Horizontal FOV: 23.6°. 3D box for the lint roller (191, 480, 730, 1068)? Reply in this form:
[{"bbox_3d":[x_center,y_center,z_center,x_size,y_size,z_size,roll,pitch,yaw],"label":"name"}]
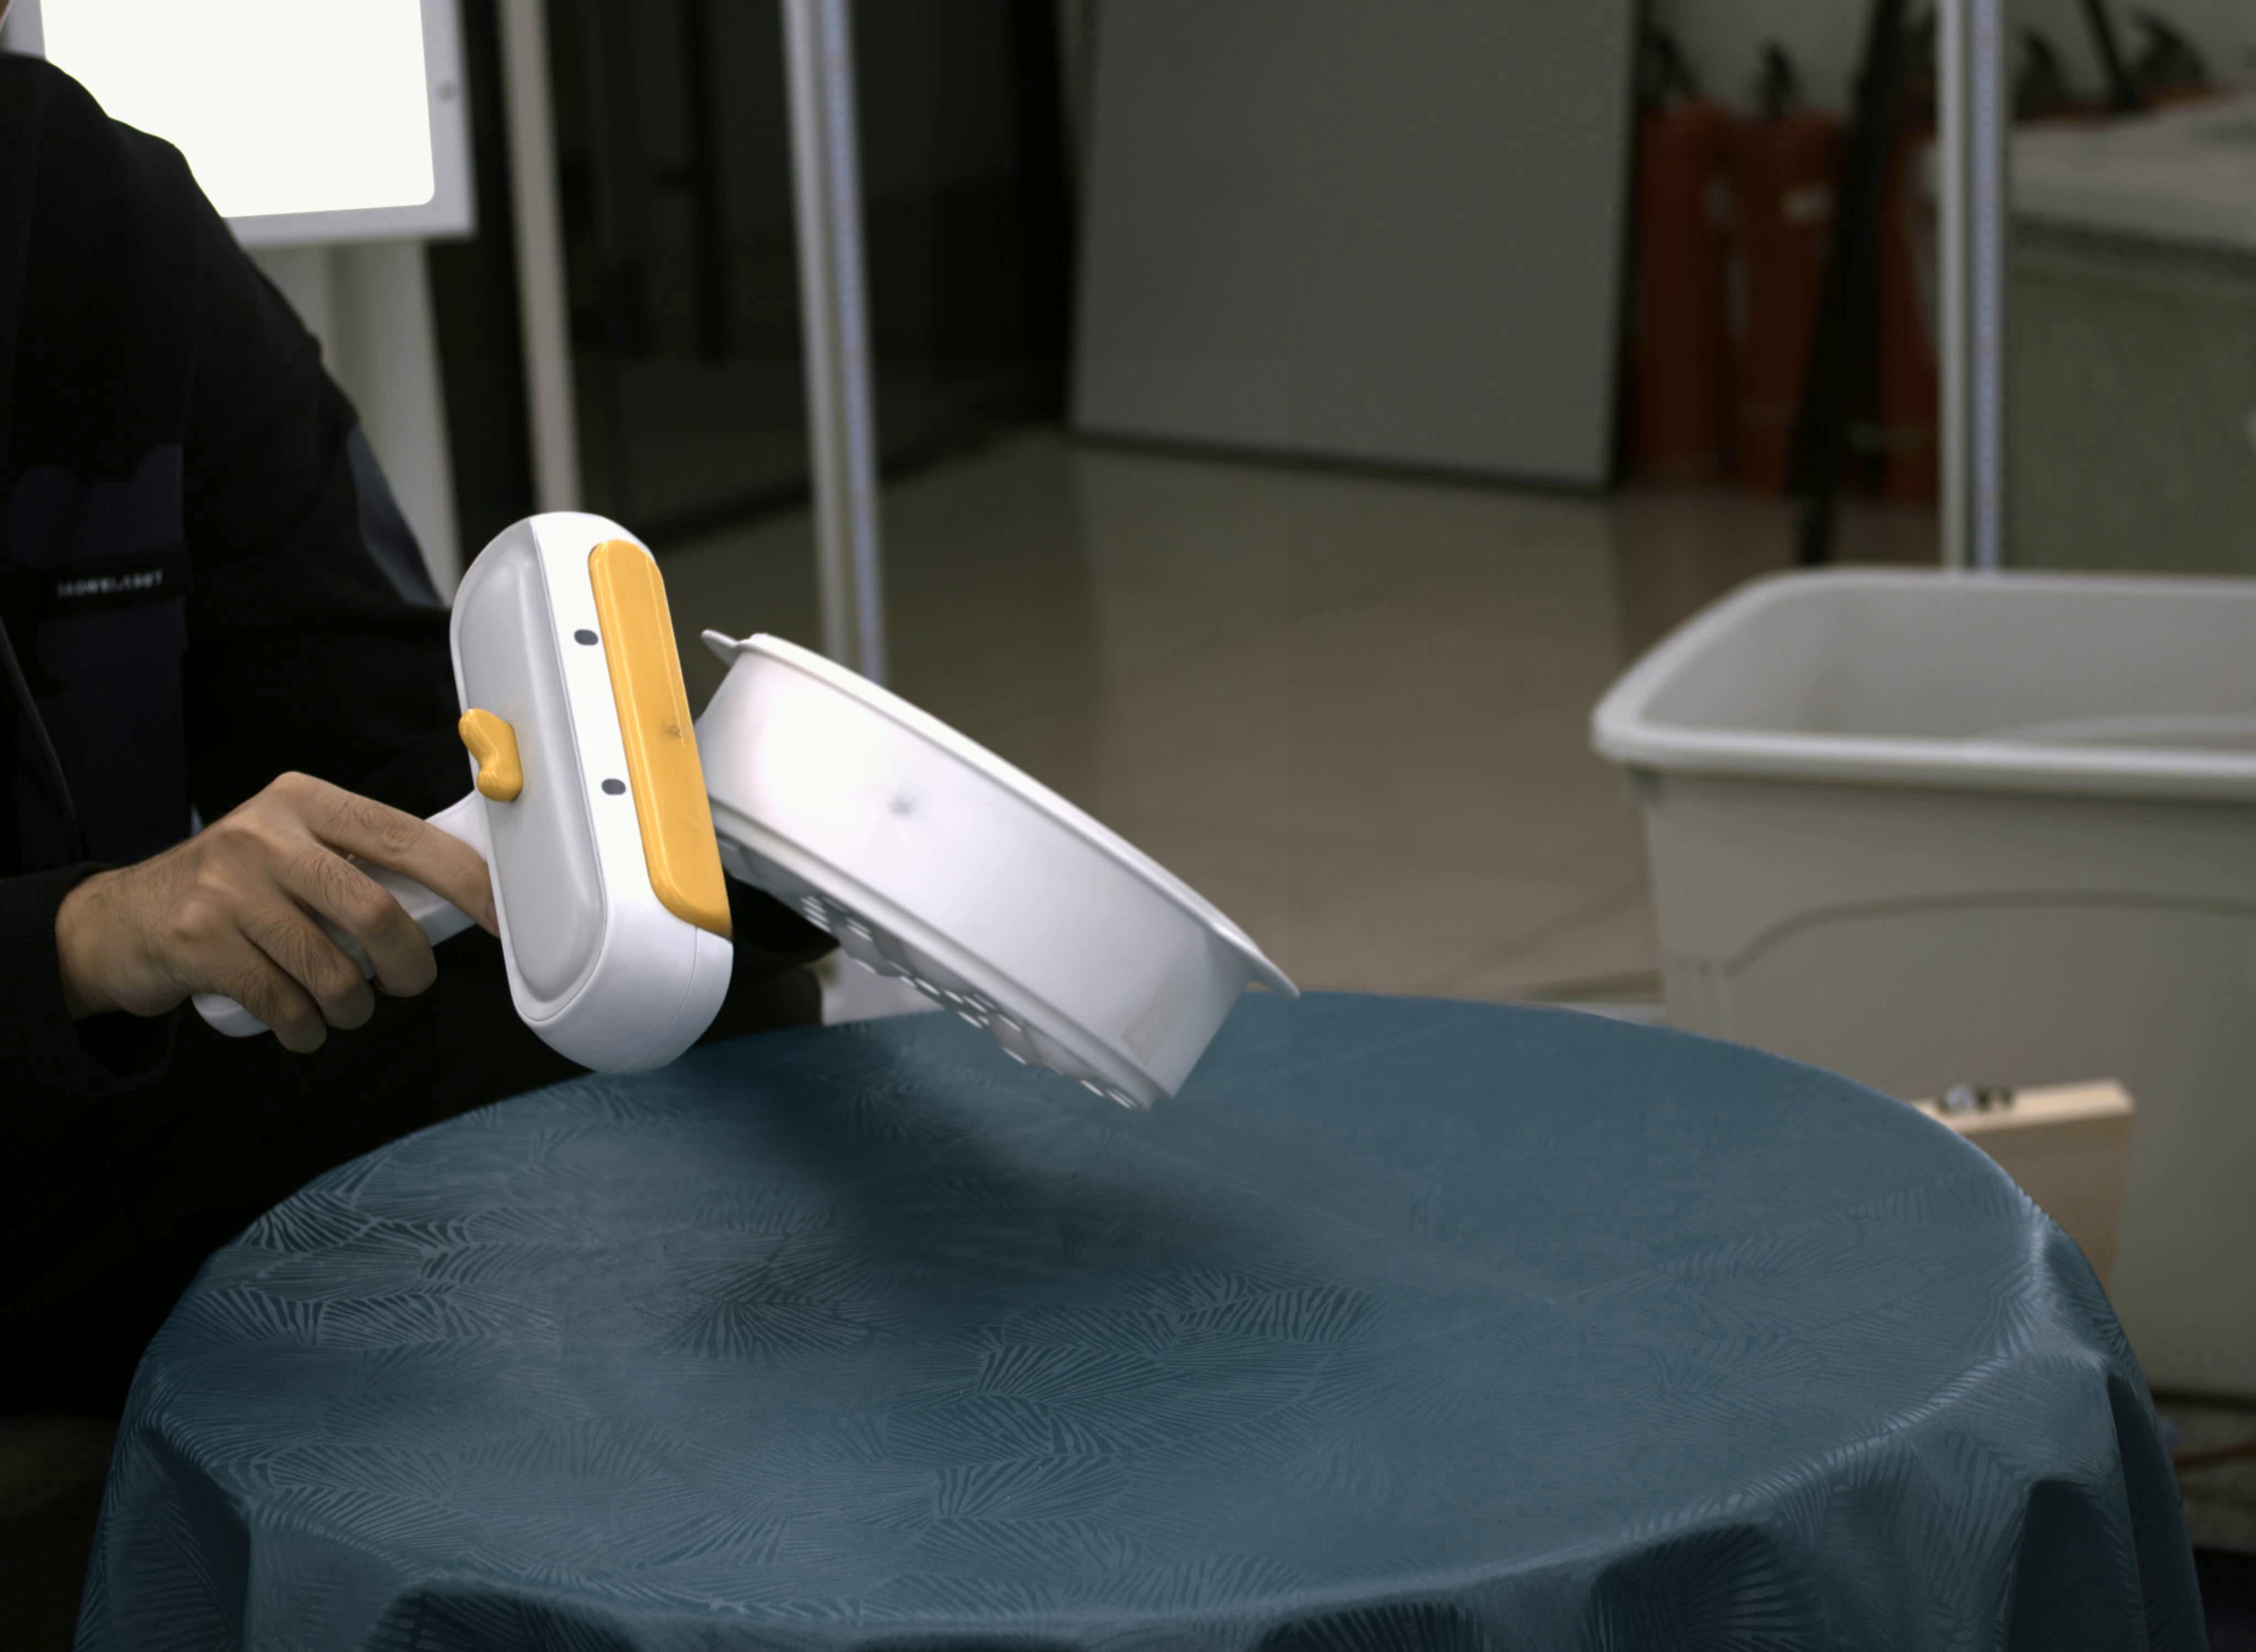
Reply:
[{"bbox_3d":[-0.212,0.011,1.681,0.194,0.195,0.072,-41,-38,27],"label":"lint roller"}]

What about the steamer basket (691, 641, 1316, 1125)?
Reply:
[{"bbox_3d":[-0.052,0.022,1.716,0.231,0.069,0.200,28,-10,20],"label":"steamer basket"}]
